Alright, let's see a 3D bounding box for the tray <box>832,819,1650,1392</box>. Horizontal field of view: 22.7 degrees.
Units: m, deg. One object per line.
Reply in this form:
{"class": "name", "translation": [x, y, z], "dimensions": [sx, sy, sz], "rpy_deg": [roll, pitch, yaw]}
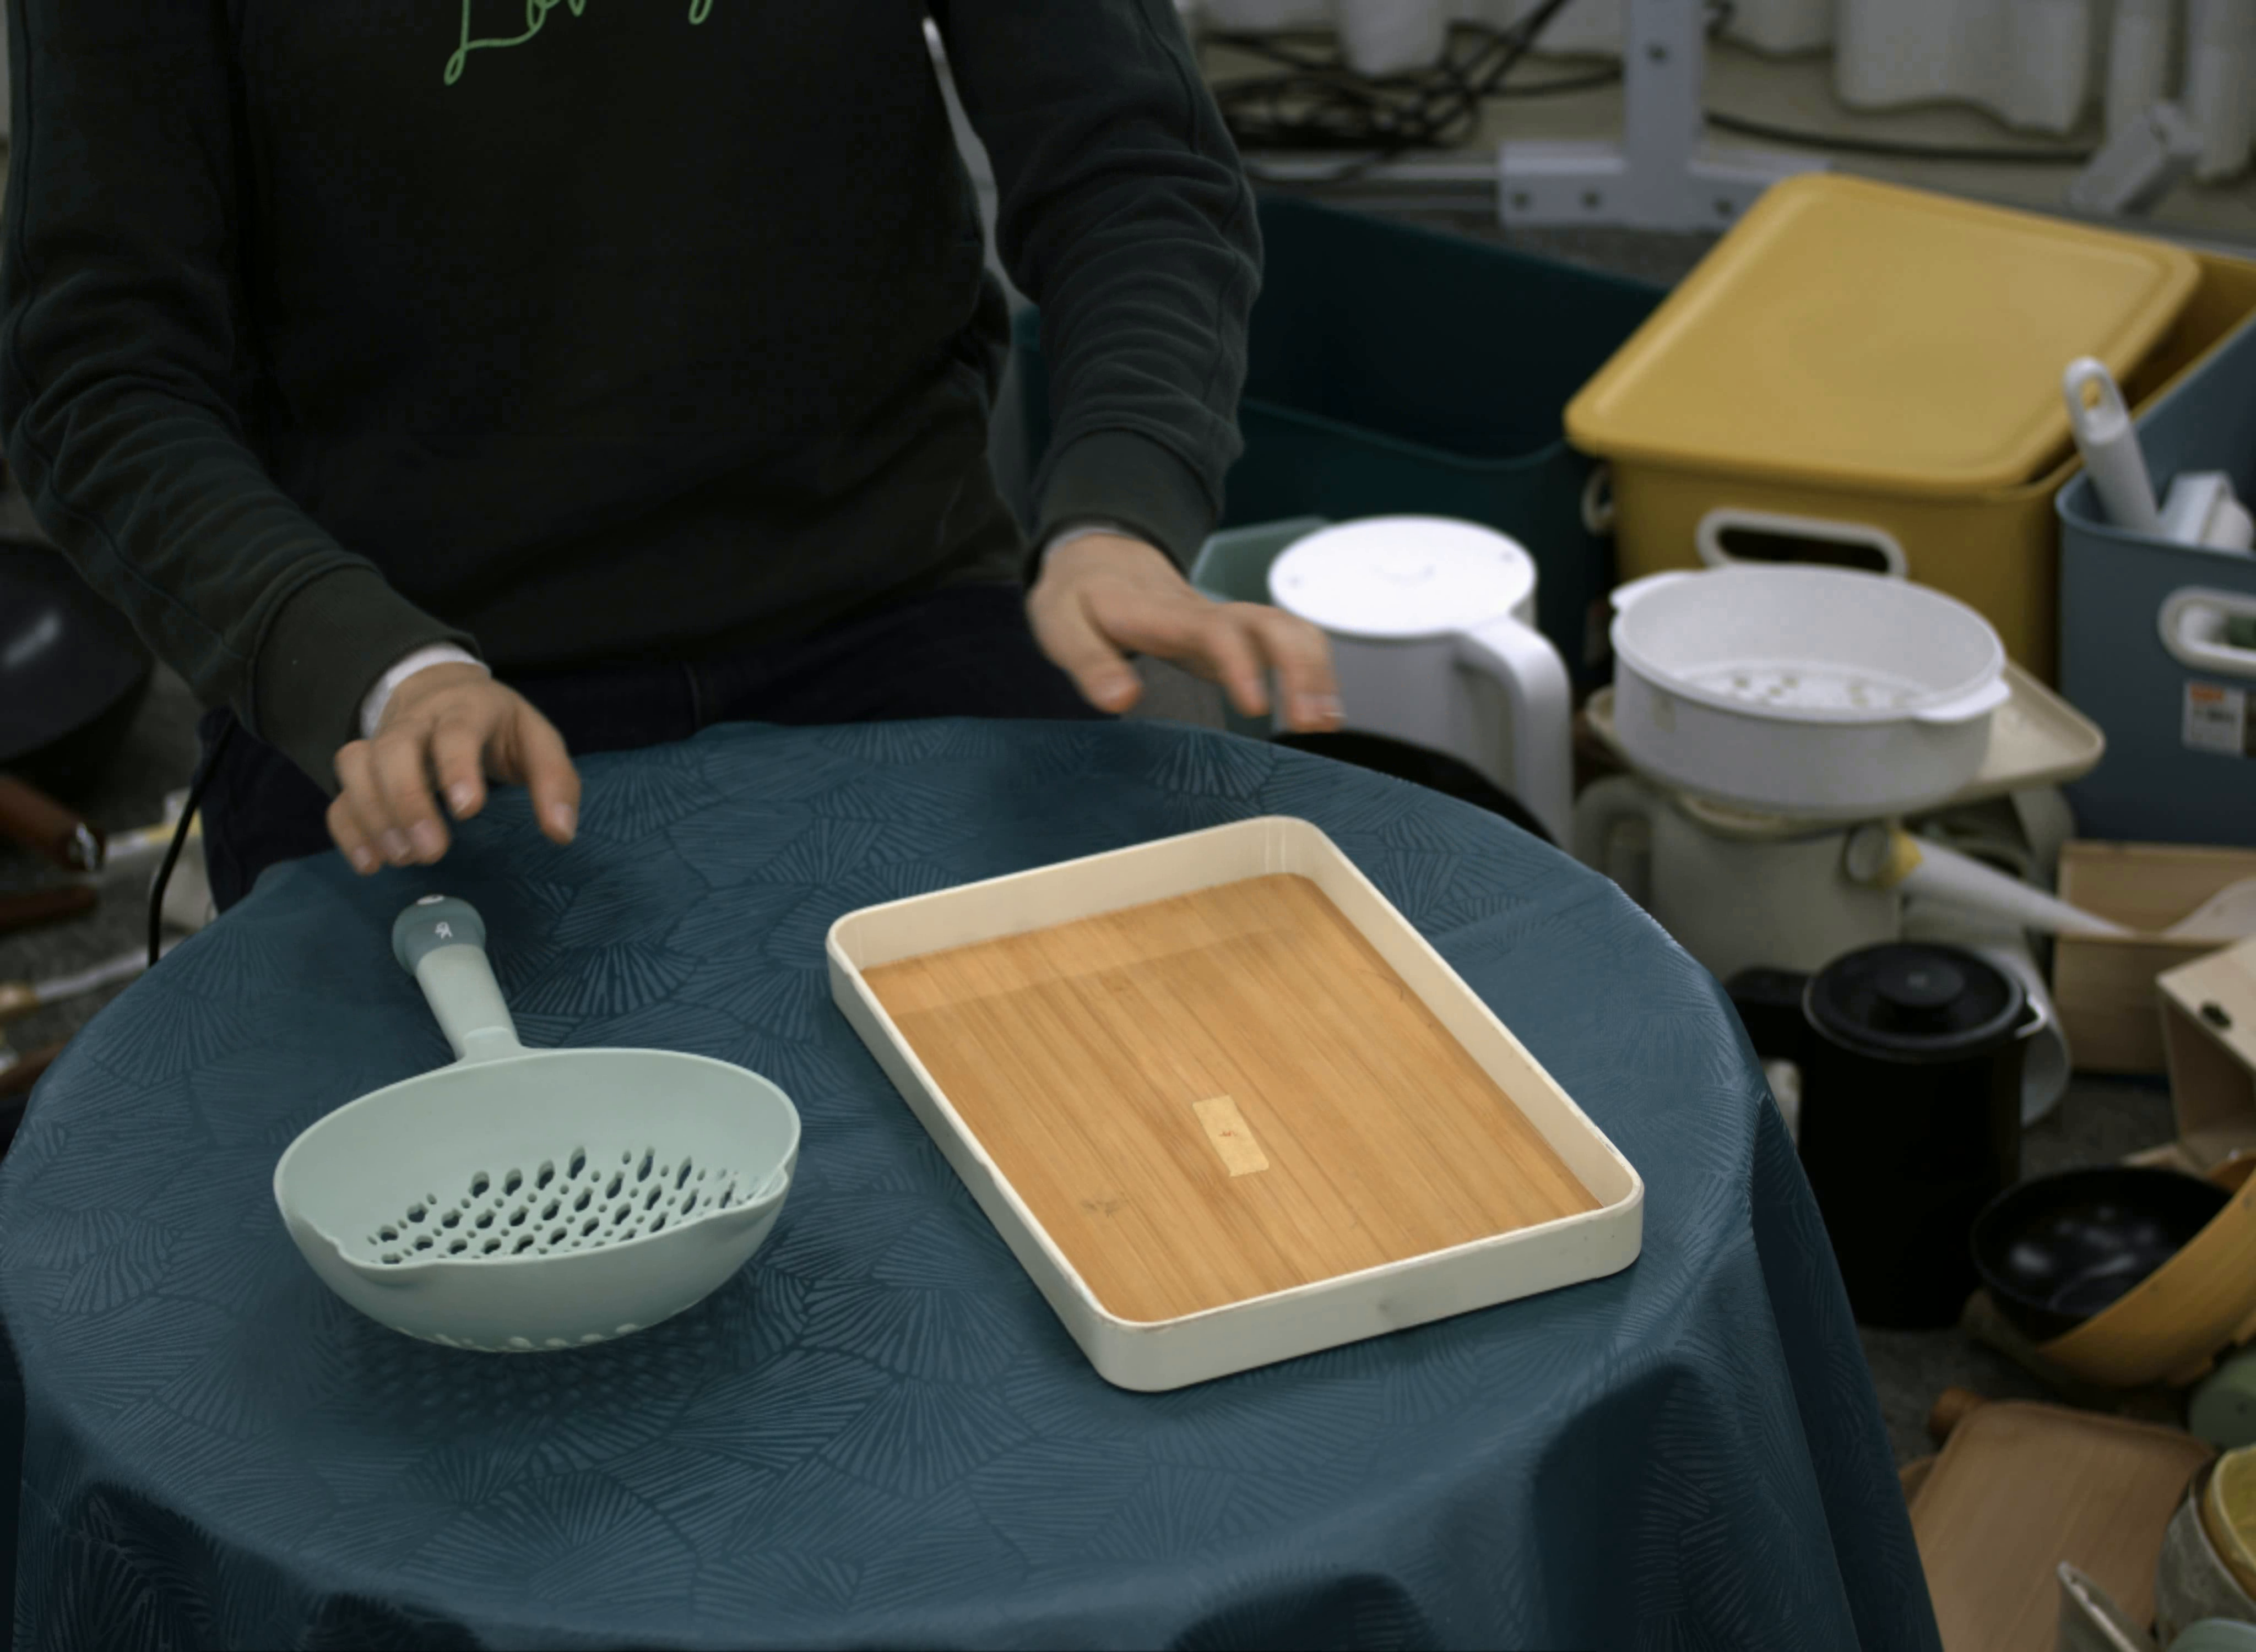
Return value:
{"class": "tray", "translation": [0.032, 0.088, 1.895], "dimensions": [0.192, 0.027, 0.303], "rpy_deg": [-12, 29, -17]}

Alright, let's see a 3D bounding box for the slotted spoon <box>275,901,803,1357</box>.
{"class": "slotted spoon", "translation": [-0.210, 0.086, 1.883], "dimensions": [0.169, 0.074, 0.362], "rpy_deg": [-8, 28, -12]}
